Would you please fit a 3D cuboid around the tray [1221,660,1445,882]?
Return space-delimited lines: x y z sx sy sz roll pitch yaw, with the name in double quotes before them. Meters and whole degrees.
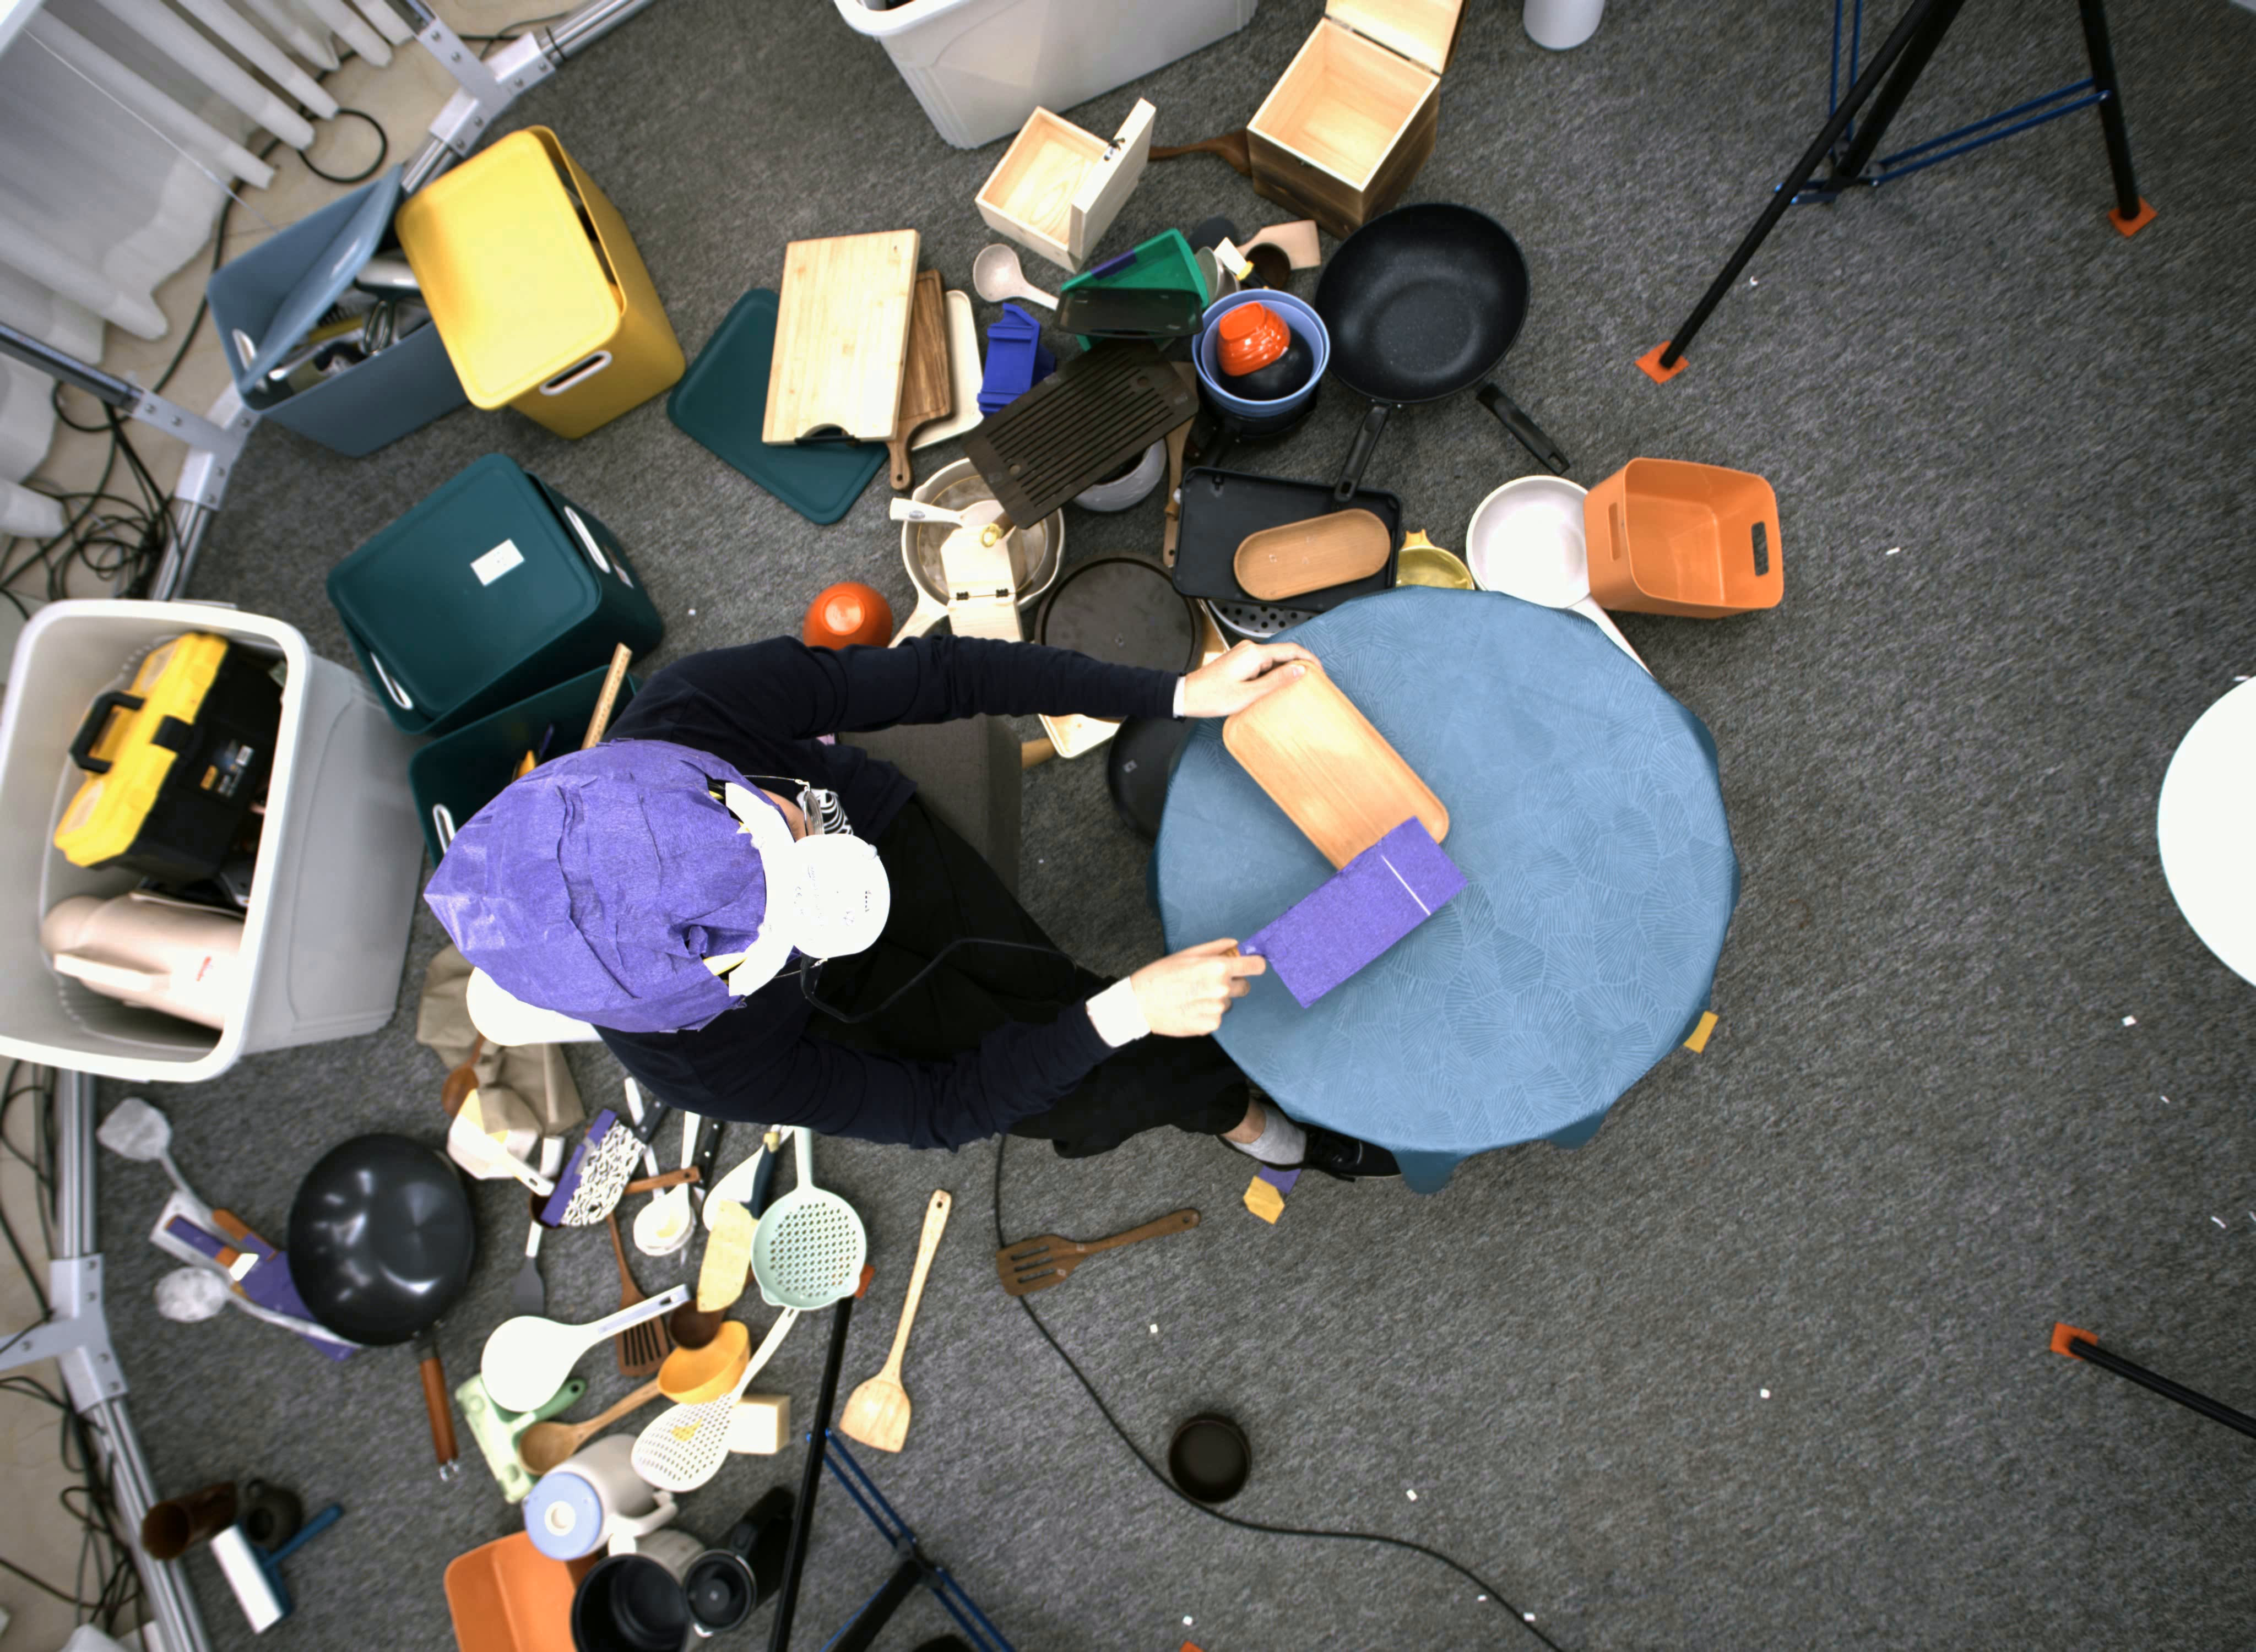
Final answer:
"tray" 0.213 -0.048 1.434 0.131 0.022 0.252 -39 99 8

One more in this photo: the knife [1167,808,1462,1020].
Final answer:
"knife" 0.189 0.113 1.378 0.316 0.032 0.104 -37 91 3
